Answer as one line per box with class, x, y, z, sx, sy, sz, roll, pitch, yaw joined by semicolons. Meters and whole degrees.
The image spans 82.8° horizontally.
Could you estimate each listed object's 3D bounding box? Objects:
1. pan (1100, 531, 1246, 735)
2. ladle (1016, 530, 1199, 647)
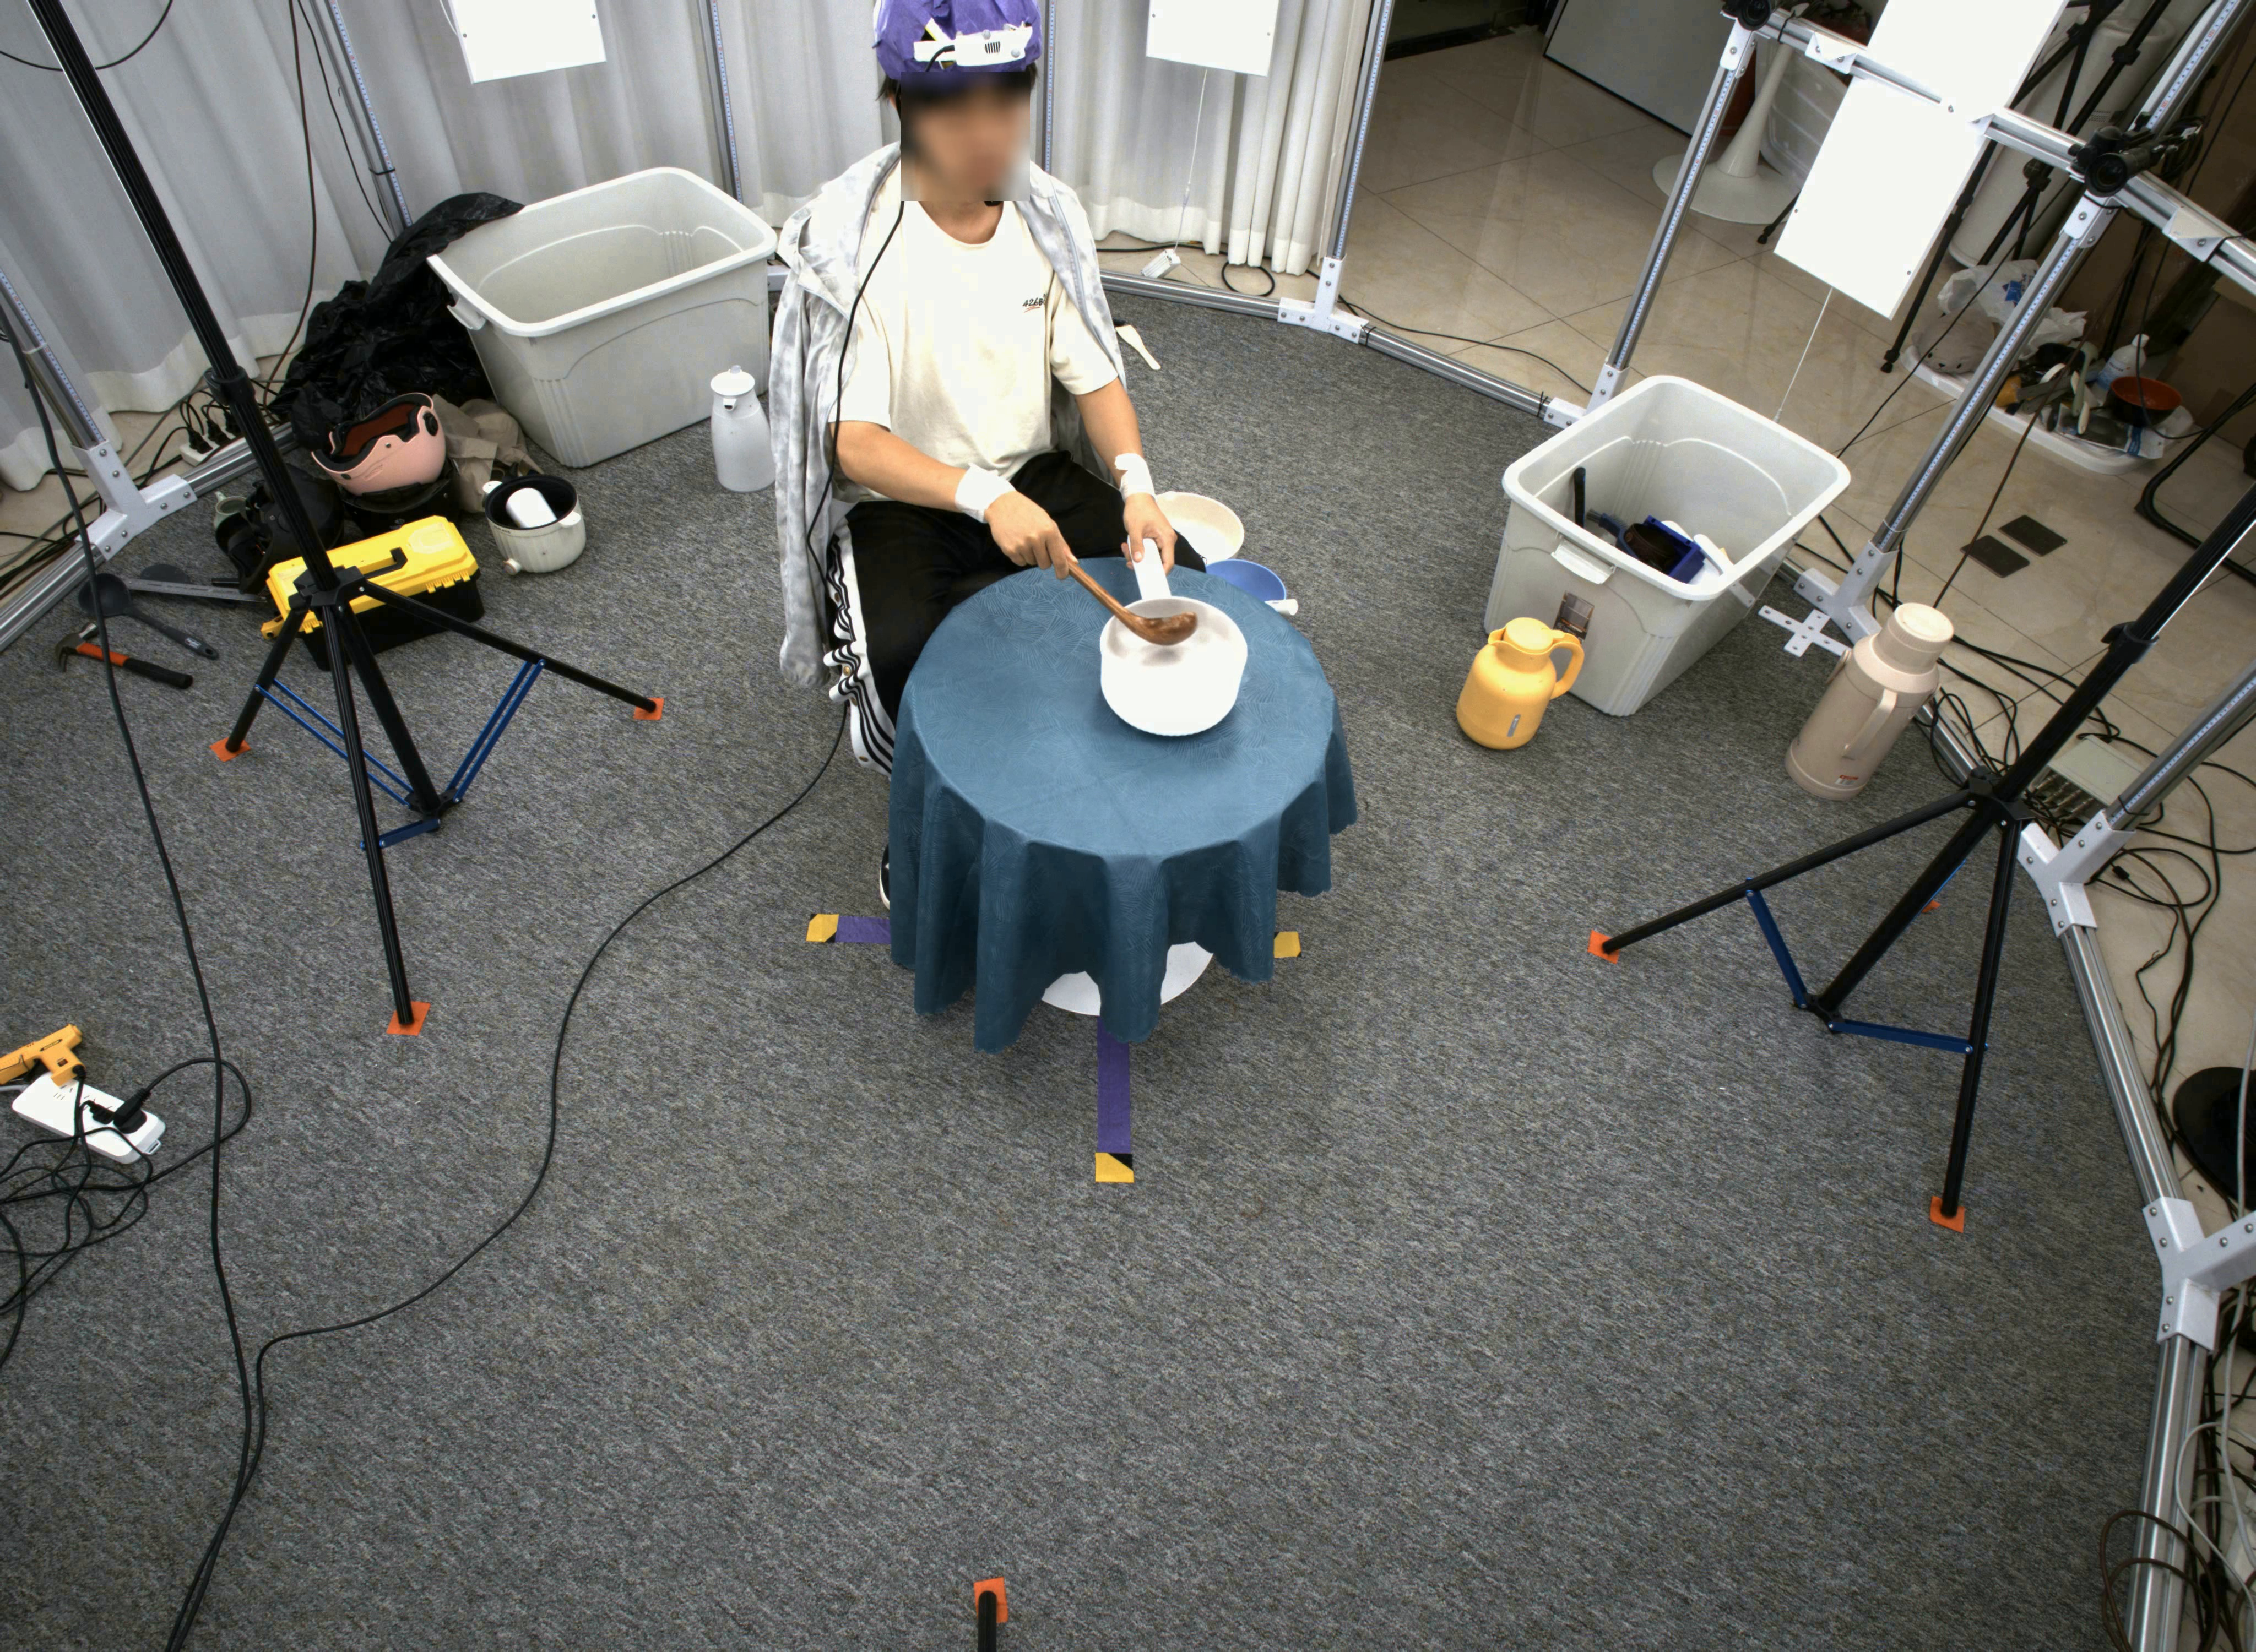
pan;0.048;-0.277;1.842;0.201;0.099;0.364;-6;49;-8
ladle;-0.023;-0.340;1.773;0.273;0.081;0.078;38;63;-2
